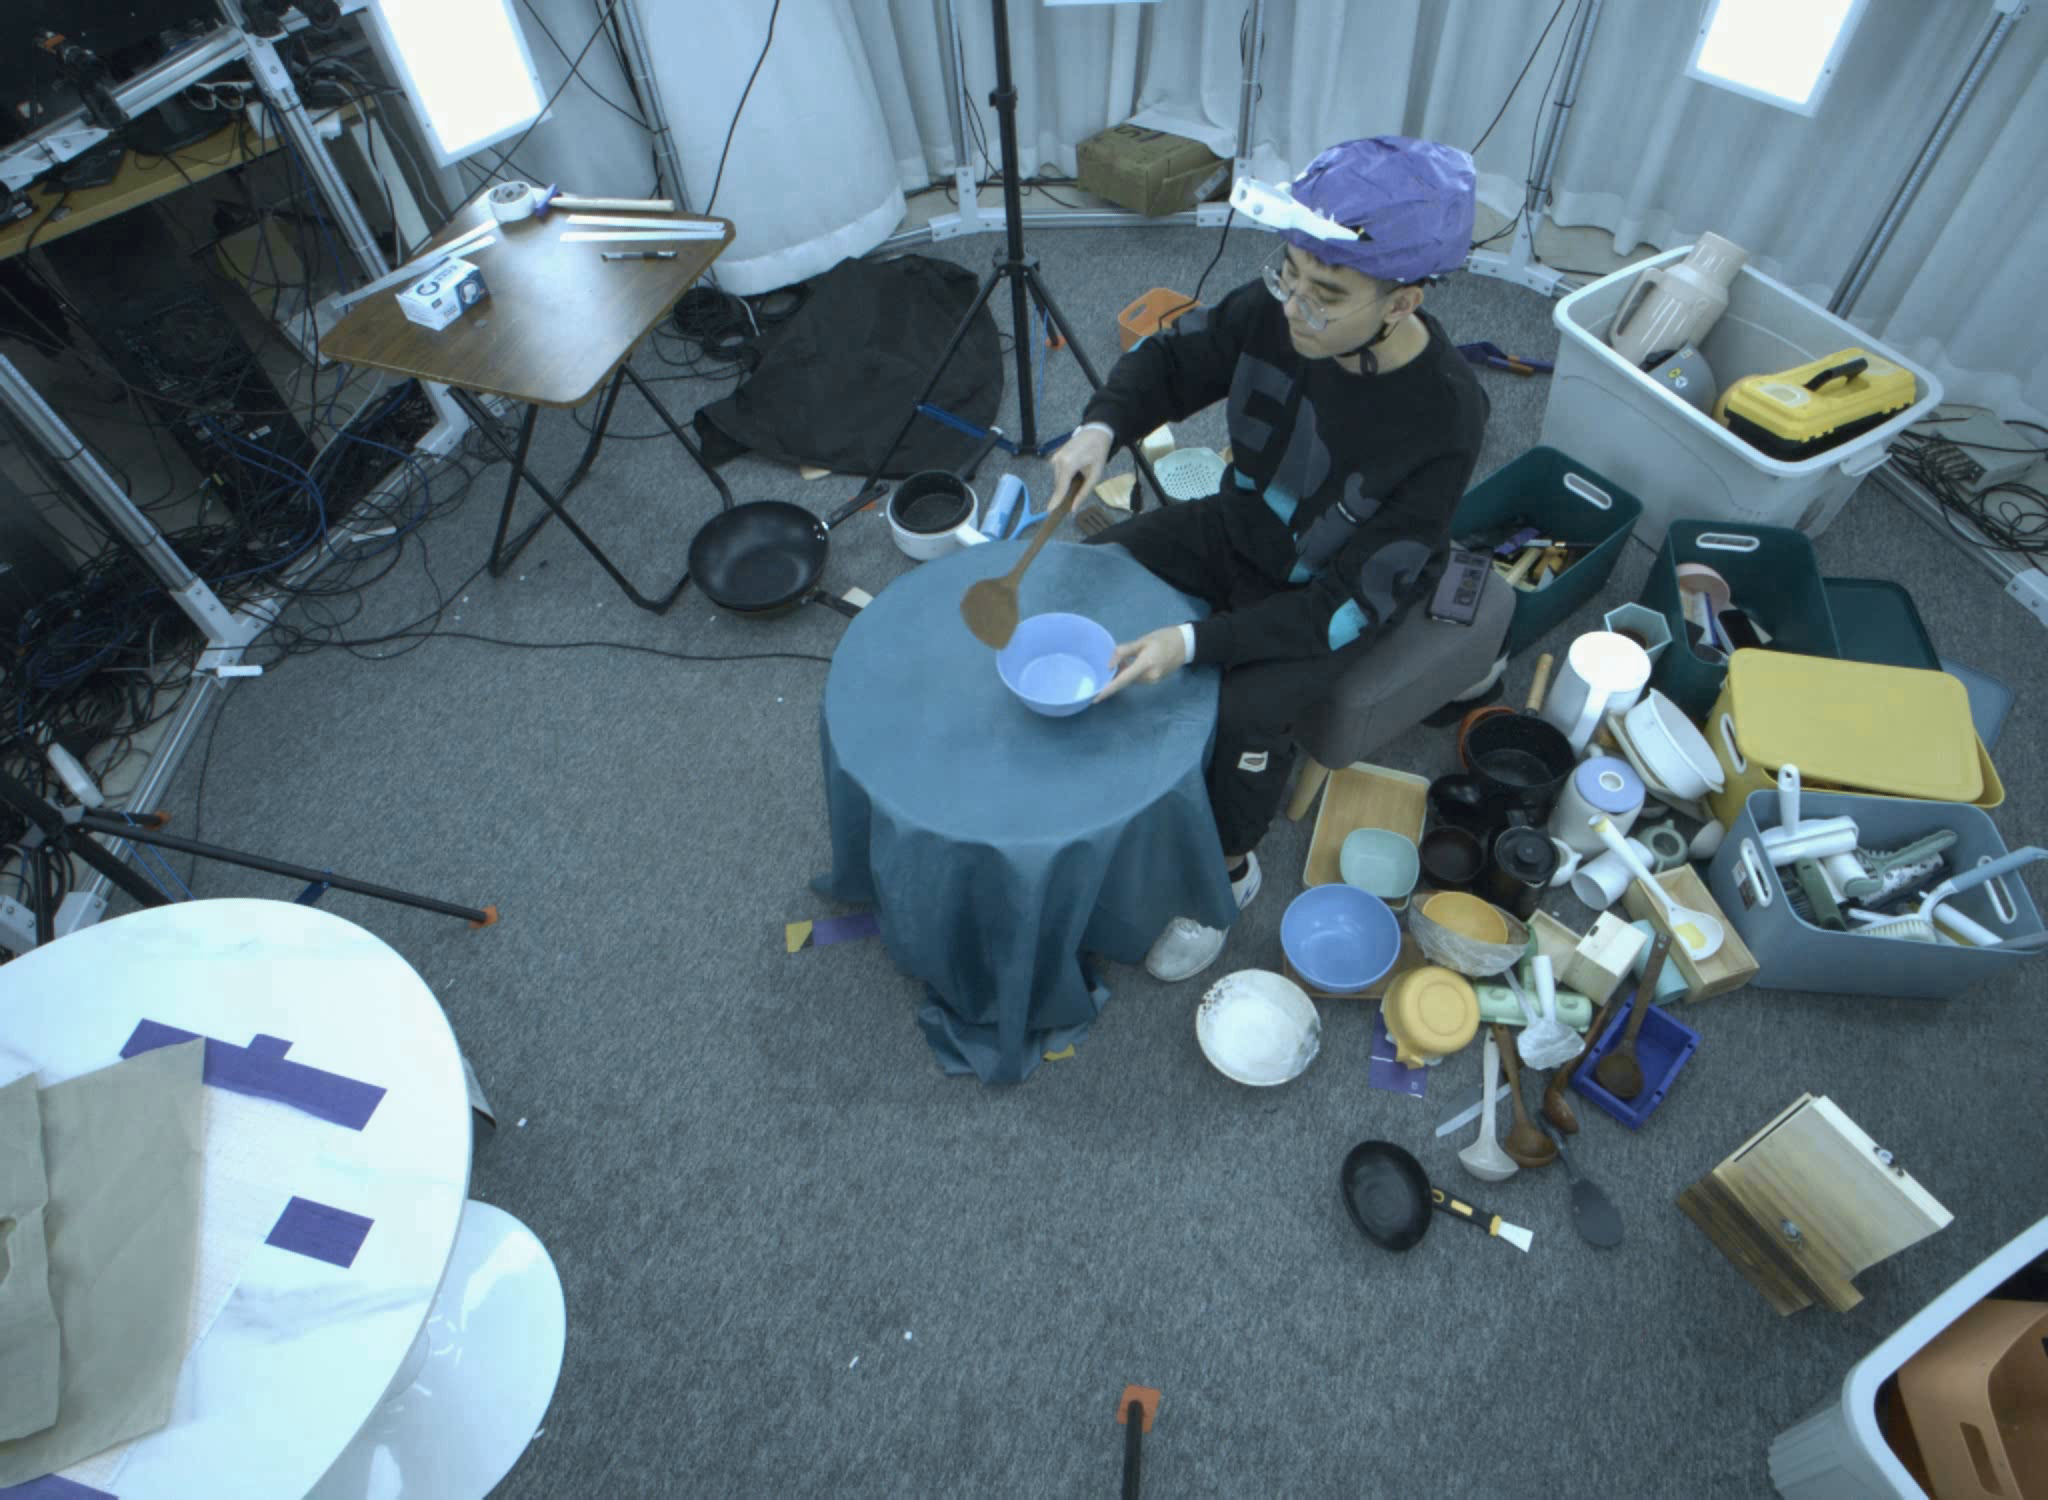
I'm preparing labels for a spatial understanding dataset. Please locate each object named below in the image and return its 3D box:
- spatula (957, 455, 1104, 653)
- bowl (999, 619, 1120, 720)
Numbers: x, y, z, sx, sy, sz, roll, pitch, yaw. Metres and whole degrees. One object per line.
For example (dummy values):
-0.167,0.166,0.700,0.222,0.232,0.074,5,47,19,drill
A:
0.023,-0.304,1.800,0.097,0.015,0.386,43,64,-22,spatula
0.051,-0.109,1.807,0.176,0.071,0.174,1,53,0,bowl
